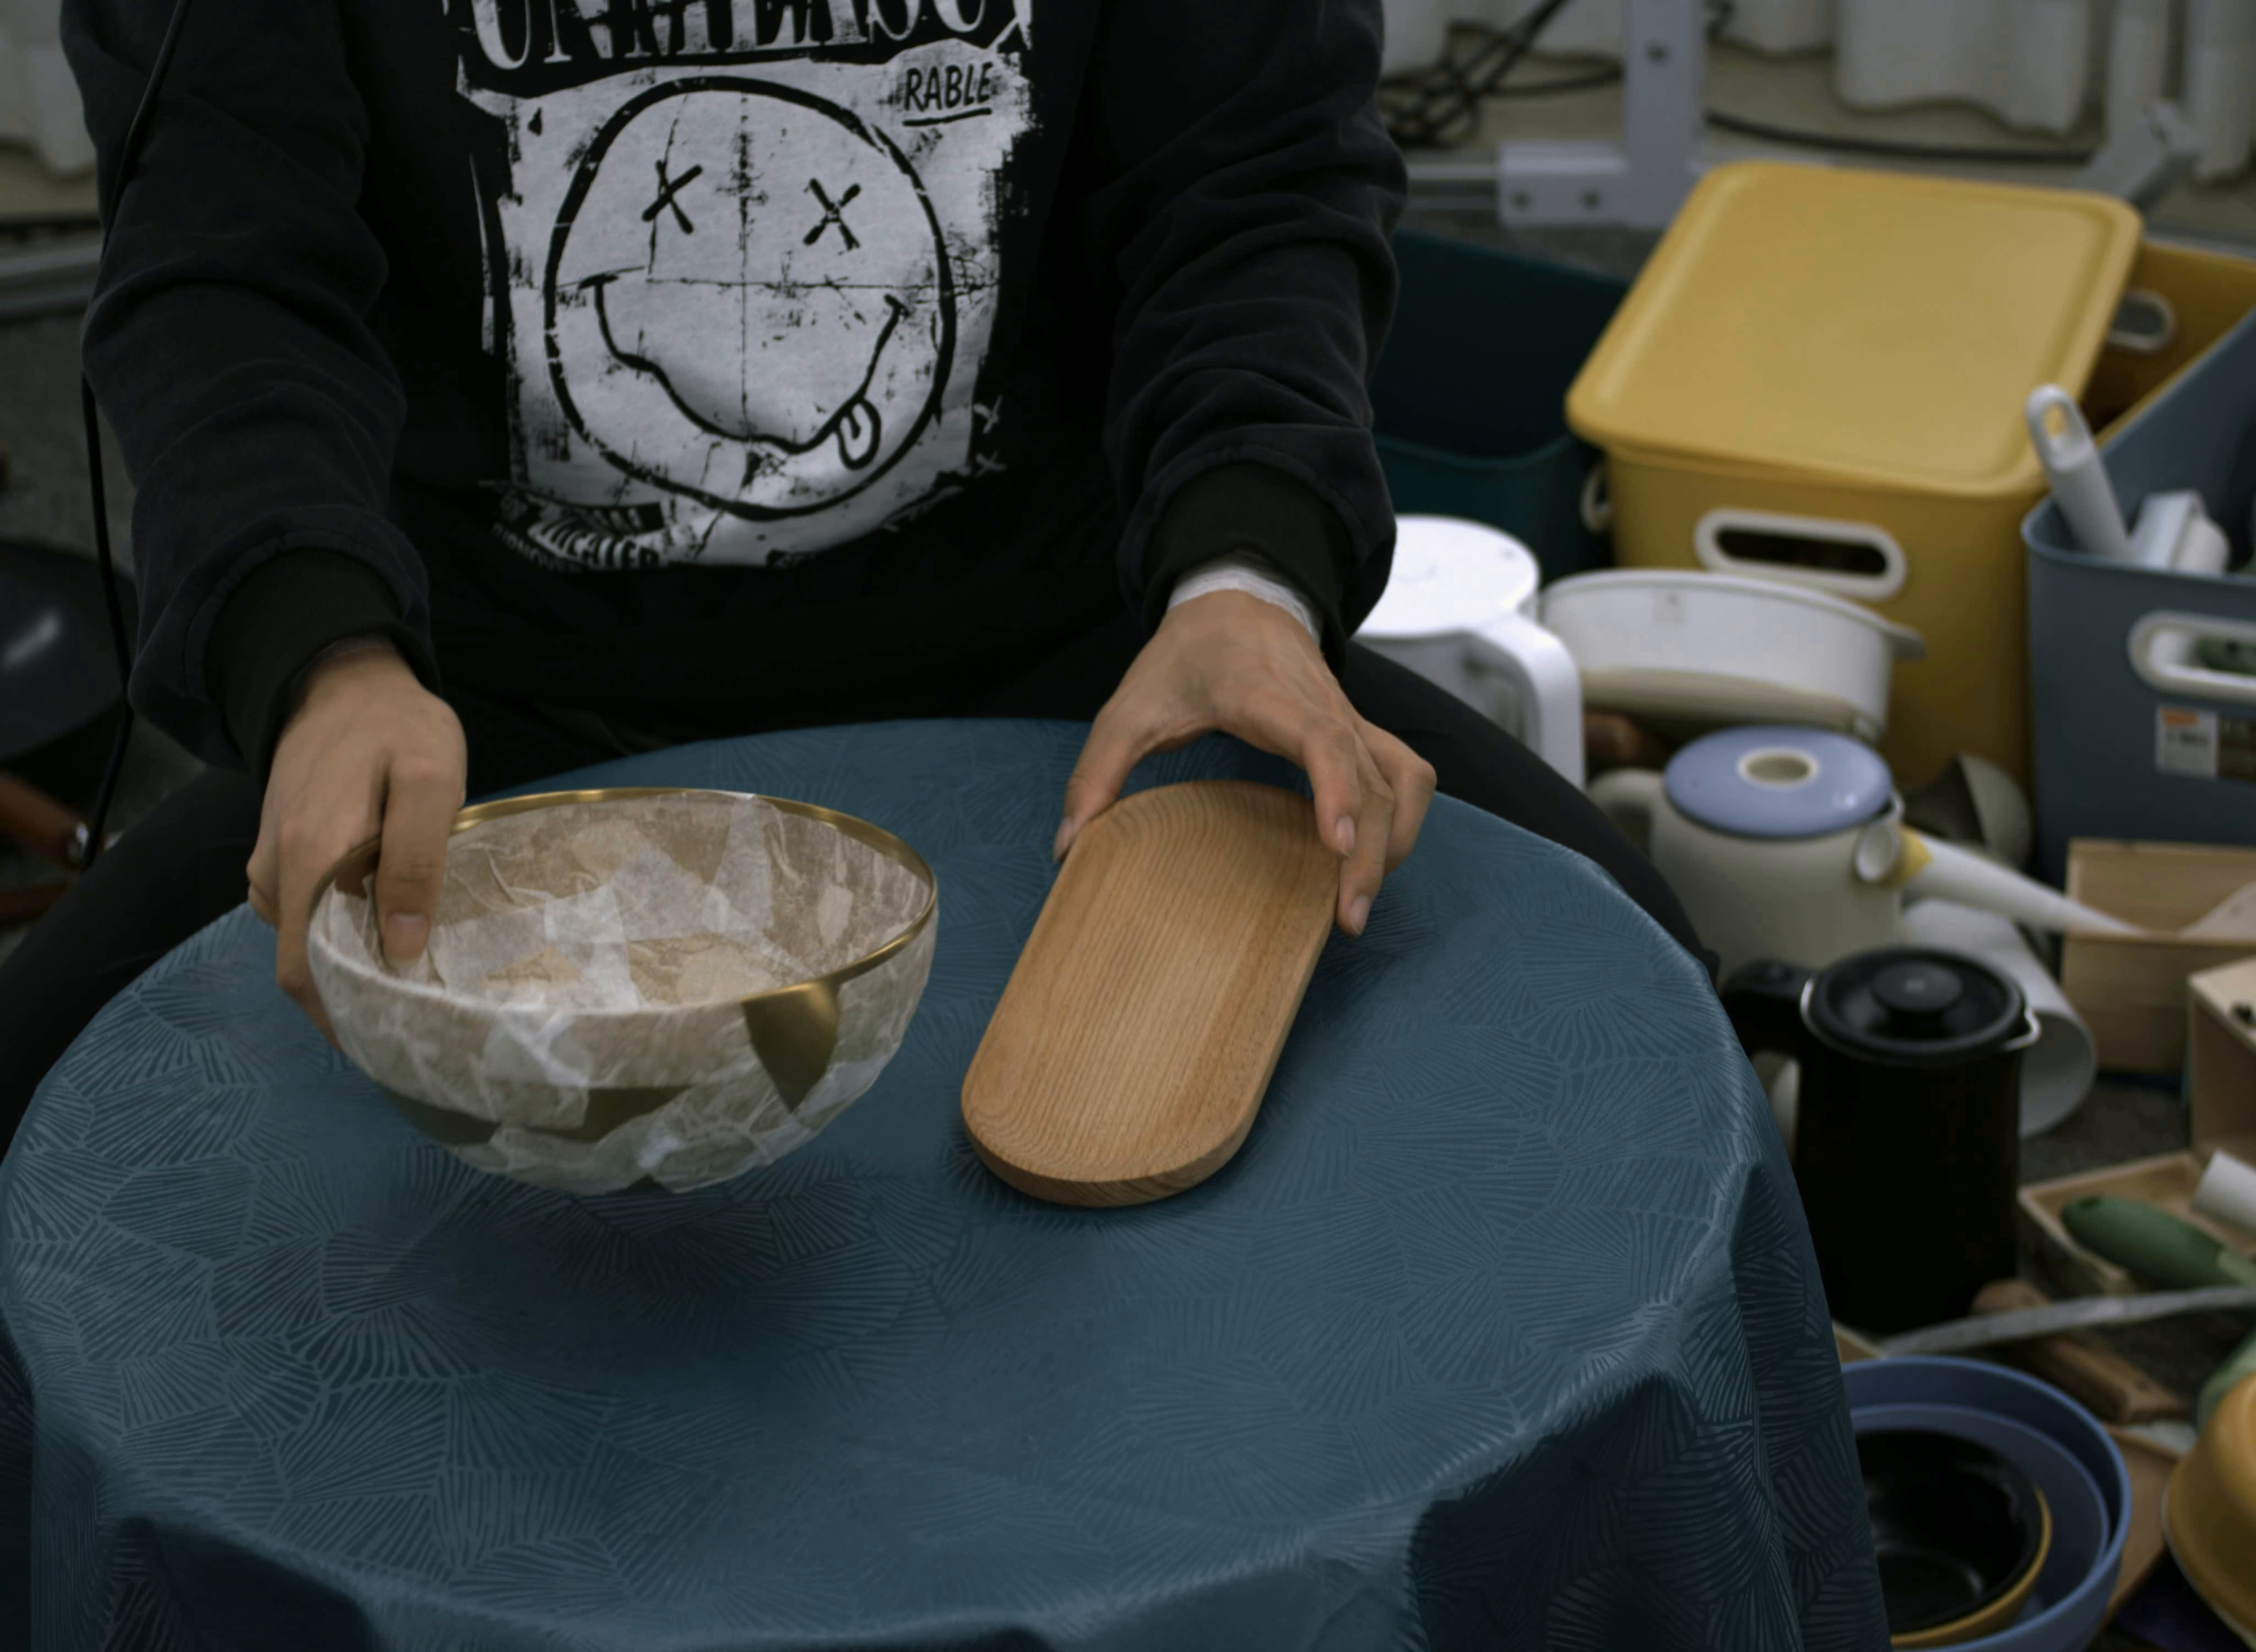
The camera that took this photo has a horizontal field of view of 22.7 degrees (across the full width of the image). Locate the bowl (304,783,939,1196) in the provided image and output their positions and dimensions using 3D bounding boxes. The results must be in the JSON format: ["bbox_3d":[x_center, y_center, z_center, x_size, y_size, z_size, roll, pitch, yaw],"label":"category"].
[{"bbox_3d":[-0.156,0.062,1.800,0.214,0.094,0.217,-1,20,1],"label":"bowl"}]

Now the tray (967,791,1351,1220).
[{"bbox_3d":[0.013,0.059,1.936,0.101,0.020,0.236,3,37,15],"label":"tray"}]
